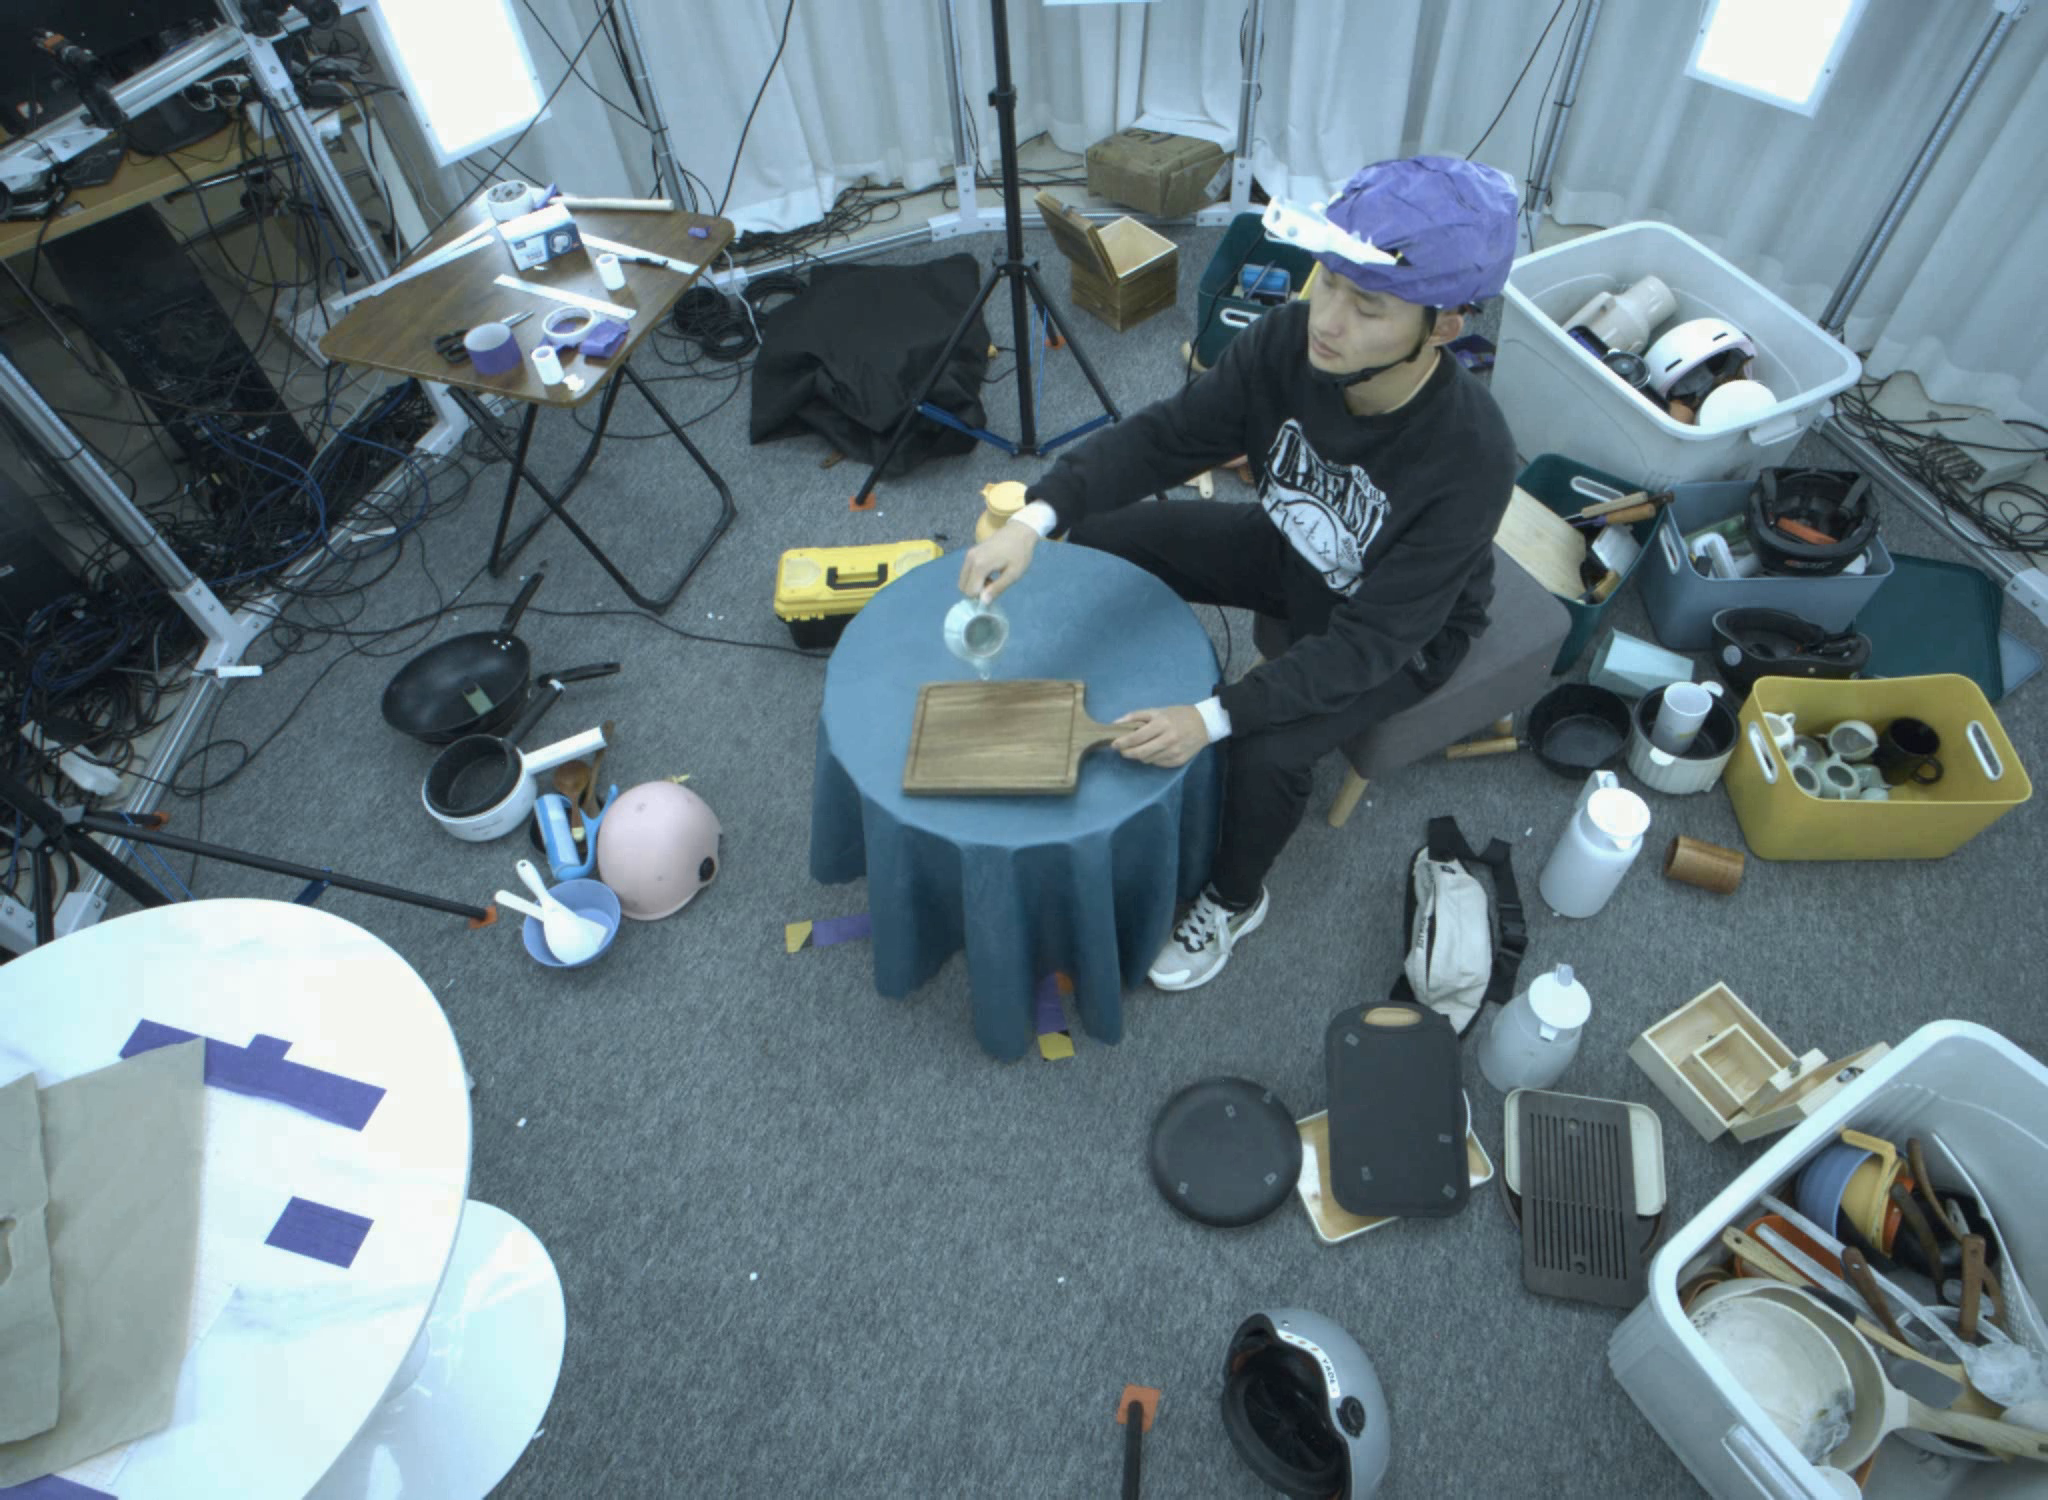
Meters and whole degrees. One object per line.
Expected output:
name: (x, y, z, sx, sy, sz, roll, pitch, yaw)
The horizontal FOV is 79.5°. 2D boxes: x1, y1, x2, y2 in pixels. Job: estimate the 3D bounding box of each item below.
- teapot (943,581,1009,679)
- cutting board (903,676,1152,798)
teapot: (-0.065, -0.172, 1.731, 0.097, 0.138, 0.060, -8, 20, -15)
cutting board: (0.007, -0.022, 1.767, 0.350, 0.023, 0.199, -1, 55, 7)
